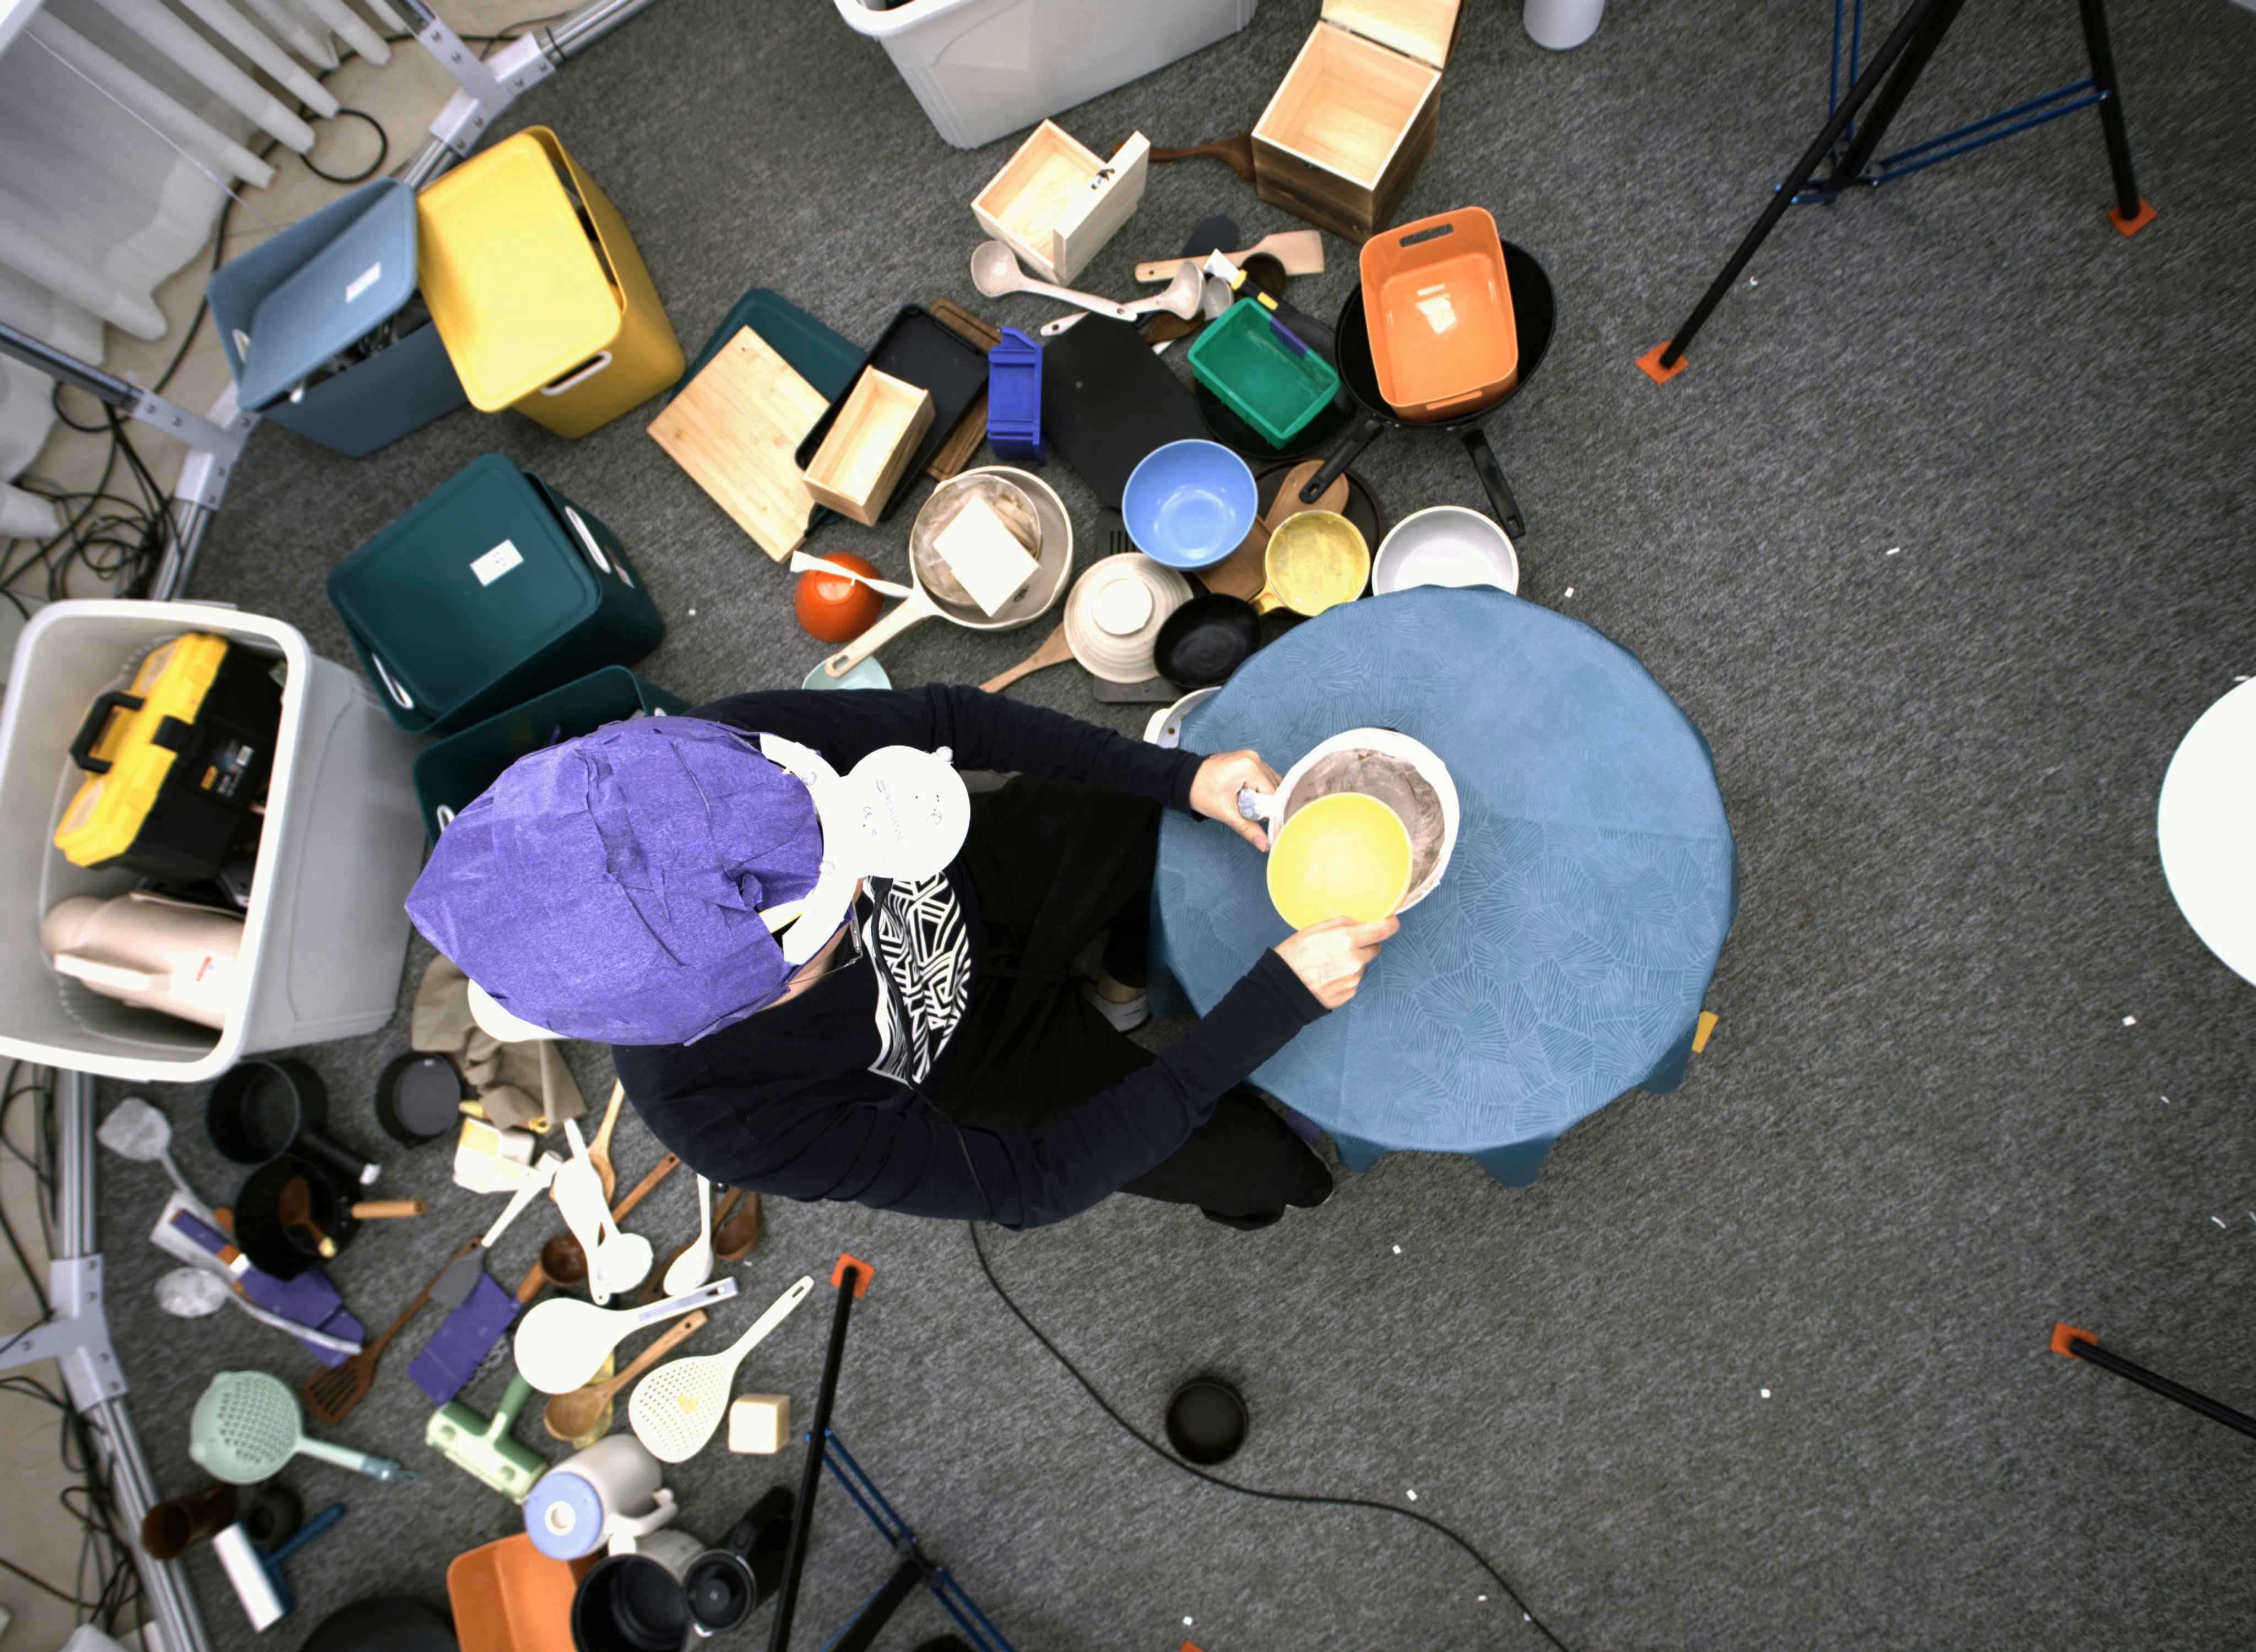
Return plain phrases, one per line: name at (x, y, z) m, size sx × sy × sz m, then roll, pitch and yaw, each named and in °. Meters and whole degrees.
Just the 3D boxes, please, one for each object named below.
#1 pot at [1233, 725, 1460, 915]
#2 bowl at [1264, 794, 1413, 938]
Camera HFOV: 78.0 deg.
pot at (0.213, -0.014, 1.385) m, size 0.234 × 0.135 × 0.181 m, roll 10°, pitch 104°, yaw 16°
bowl at (0.206, 0.045, 1.309) m, size 0.147 × 0.060 × 0.142 m, roll -11°, pitch 65°, yaw 24°
